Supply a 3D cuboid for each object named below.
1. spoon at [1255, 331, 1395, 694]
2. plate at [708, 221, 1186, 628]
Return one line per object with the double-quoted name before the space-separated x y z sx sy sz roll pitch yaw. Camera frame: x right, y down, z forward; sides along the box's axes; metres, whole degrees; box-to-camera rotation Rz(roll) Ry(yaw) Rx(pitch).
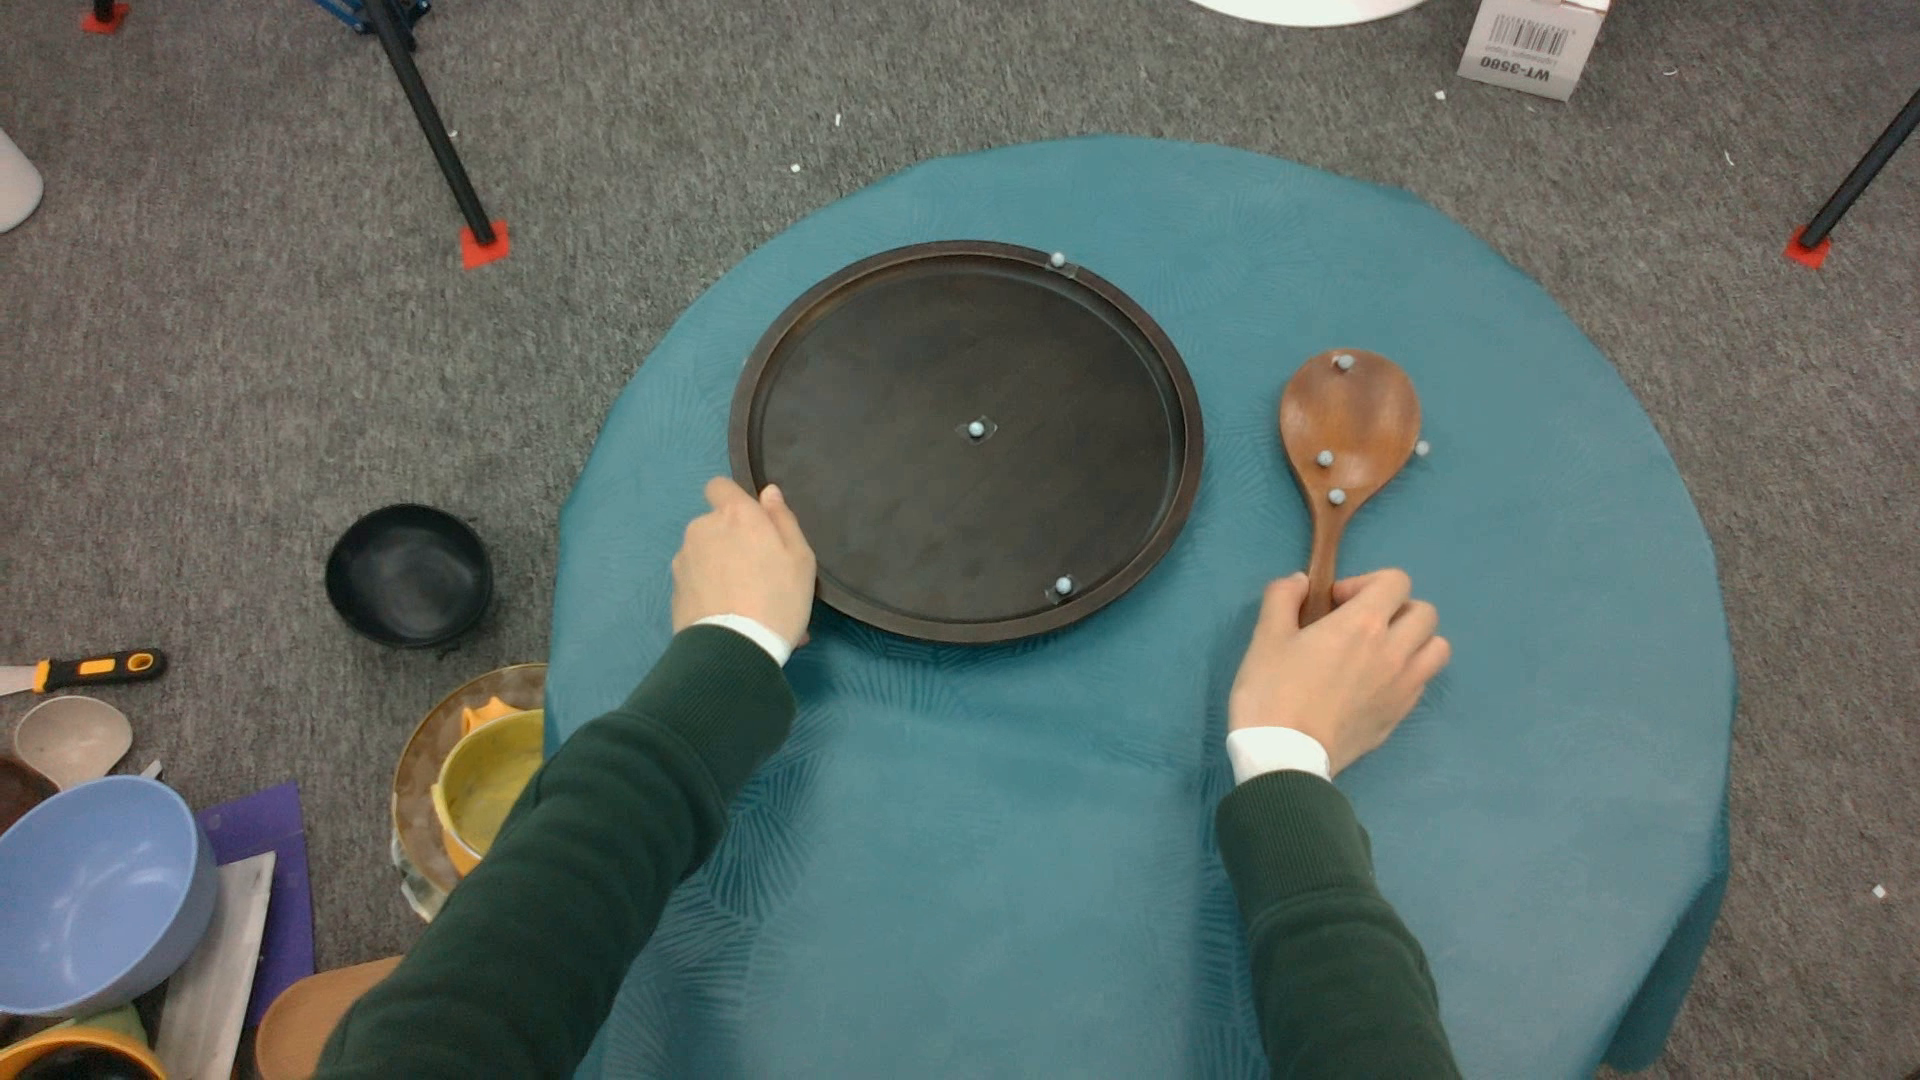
"spoon" 0.181 -0.019 0.717 0.075 0.017 0.217 13 63 6
"plate" -0.007 -0.067 0.736 0.255 0.029 0.256 0 61 0
